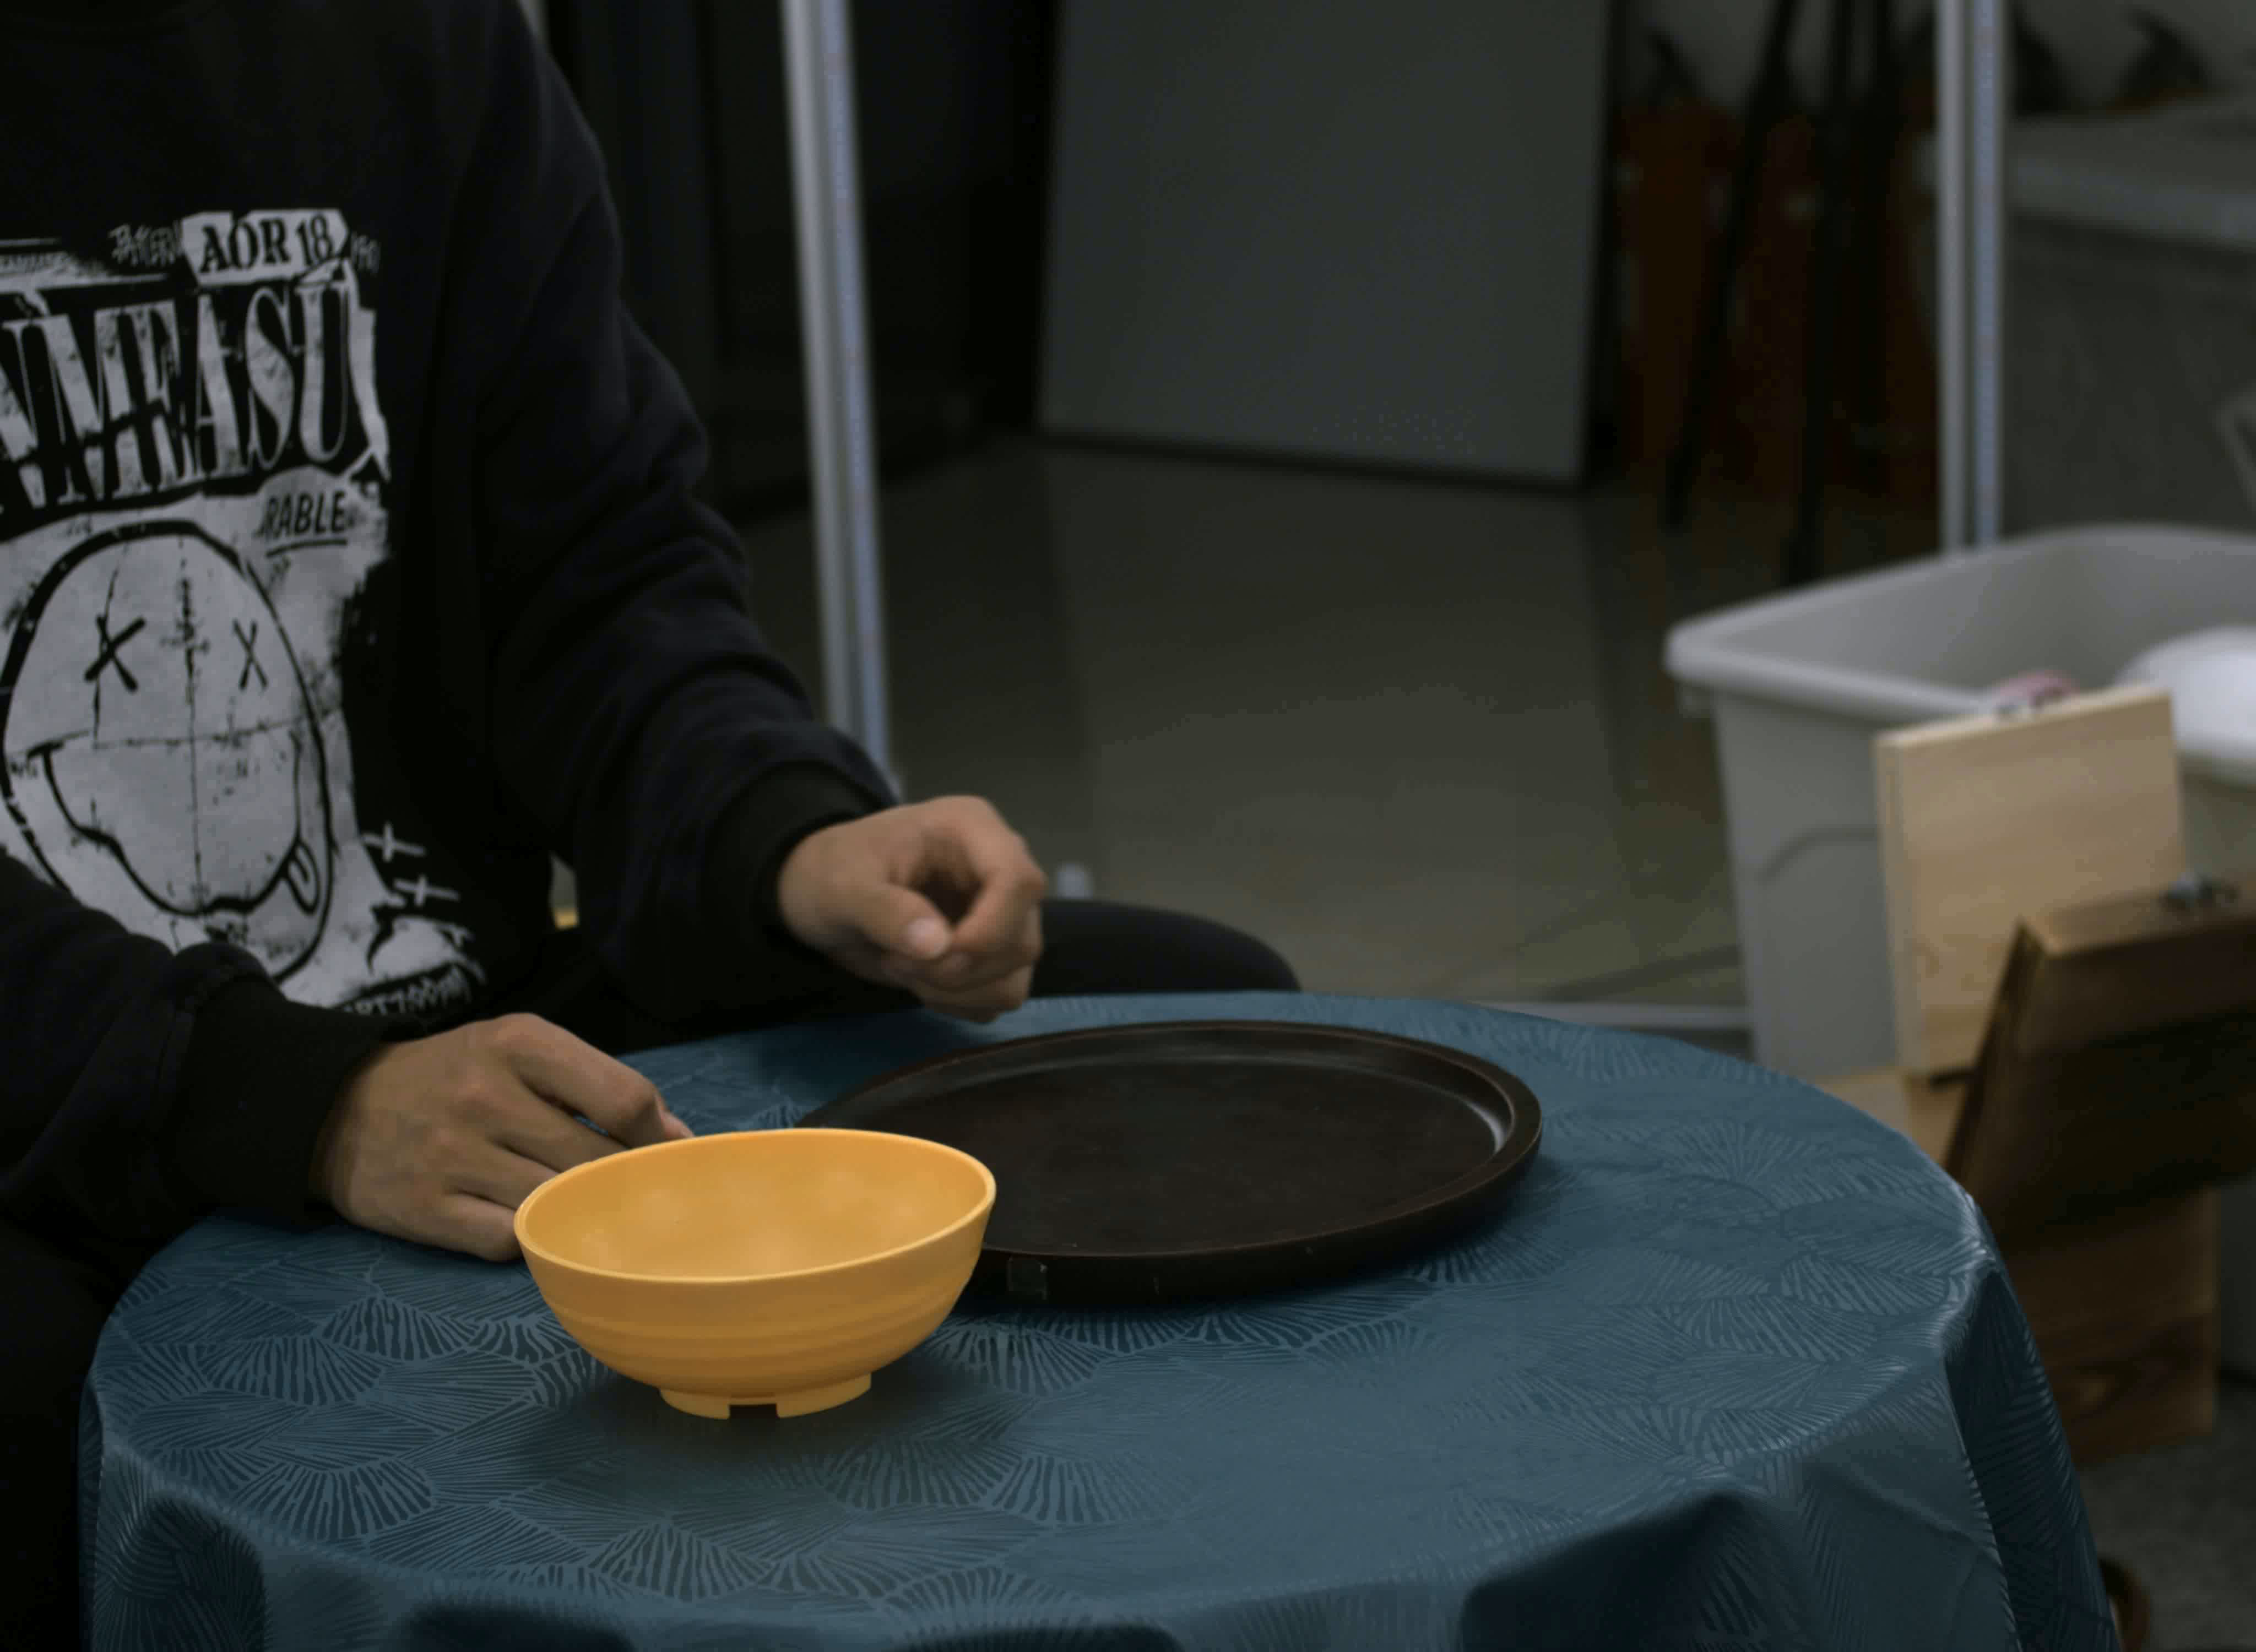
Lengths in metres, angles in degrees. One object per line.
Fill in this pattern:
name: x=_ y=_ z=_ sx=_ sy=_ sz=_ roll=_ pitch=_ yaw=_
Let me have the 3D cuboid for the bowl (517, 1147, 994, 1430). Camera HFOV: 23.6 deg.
bowl: x=-0.108 y=0.141 z=1.606 sx=0.143 sy=0.061 sz=0.145 roll=-5 pitch=11 yaw=0

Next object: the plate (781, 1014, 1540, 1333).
plate: x=0.011 y=0.111 z=1.767 sx=0.251 sy=0.029 sz=0.255 roll=-6 pitch=16 yaw=1
